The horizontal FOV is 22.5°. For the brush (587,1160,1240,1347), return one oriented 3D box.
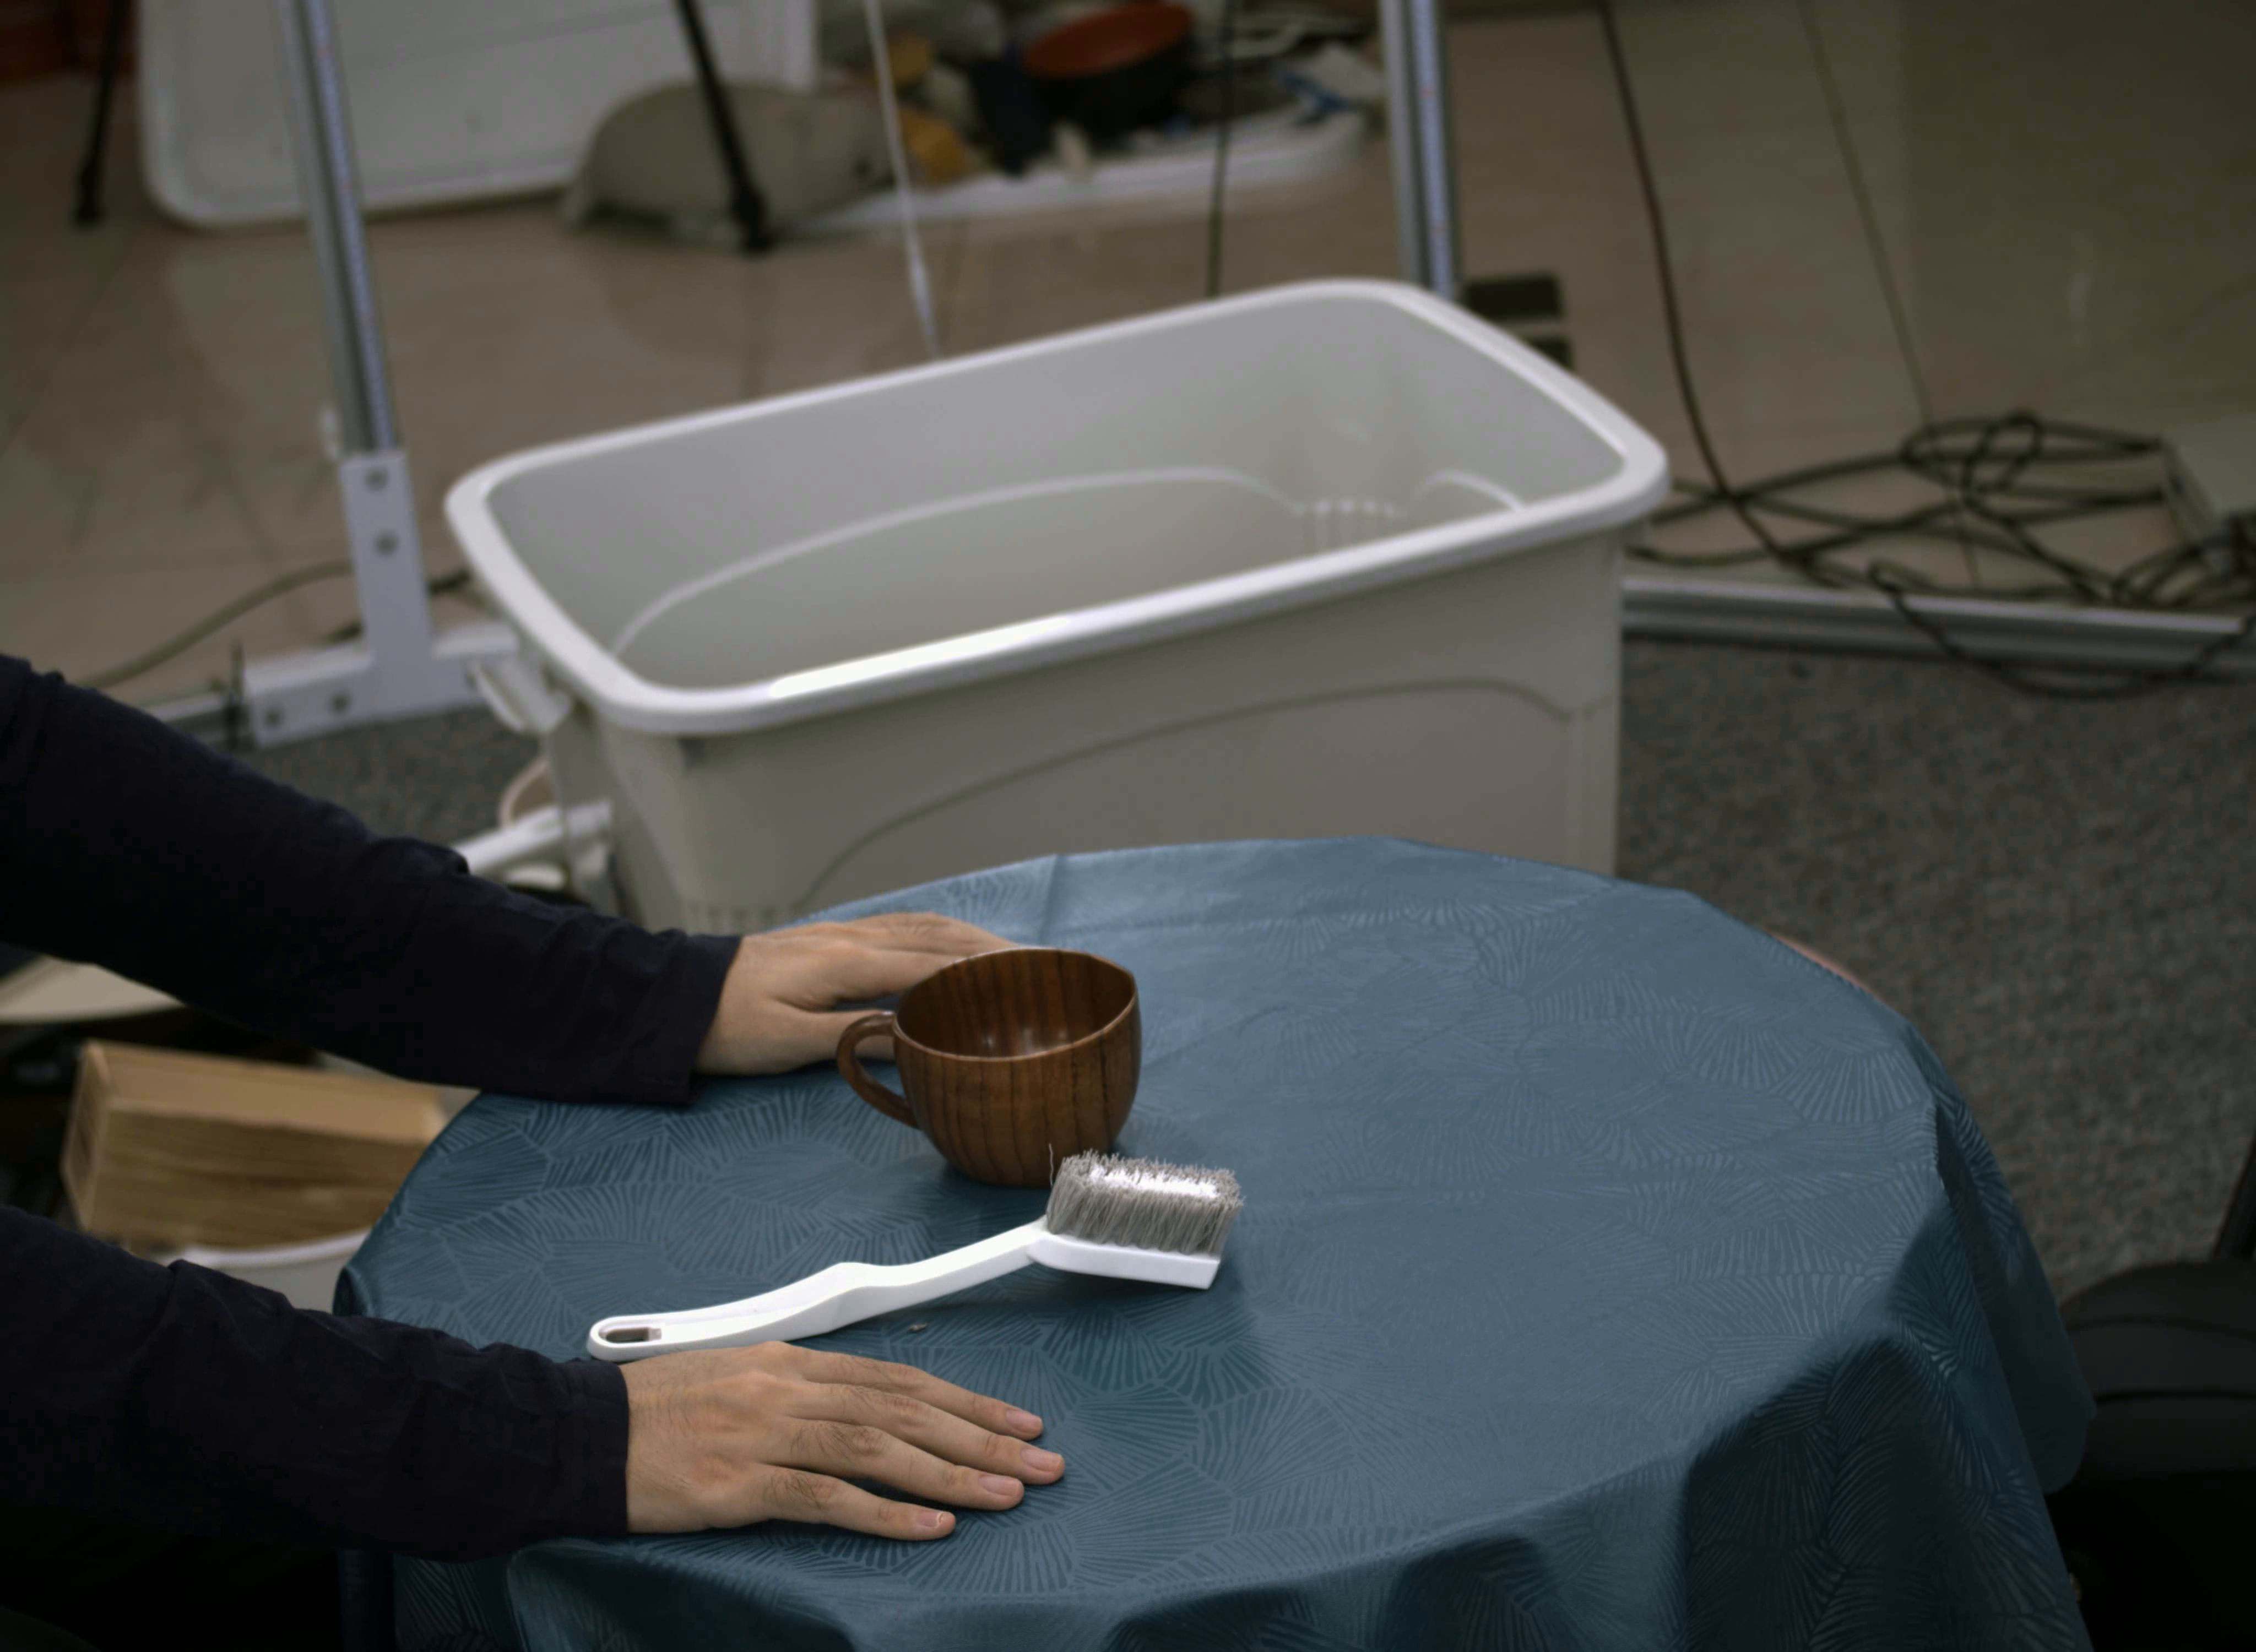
[{"bbox_3d":[-0.080,0.156,2.075,0.243,0.051,0.034,-6,31,1],"label":"brush"}]

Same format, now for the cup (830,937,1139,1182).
[{"bbox_3d":[-0.054,0.093,2.175,0.119,0.069,0.094,-1,28,5],"label":"cup"}]
